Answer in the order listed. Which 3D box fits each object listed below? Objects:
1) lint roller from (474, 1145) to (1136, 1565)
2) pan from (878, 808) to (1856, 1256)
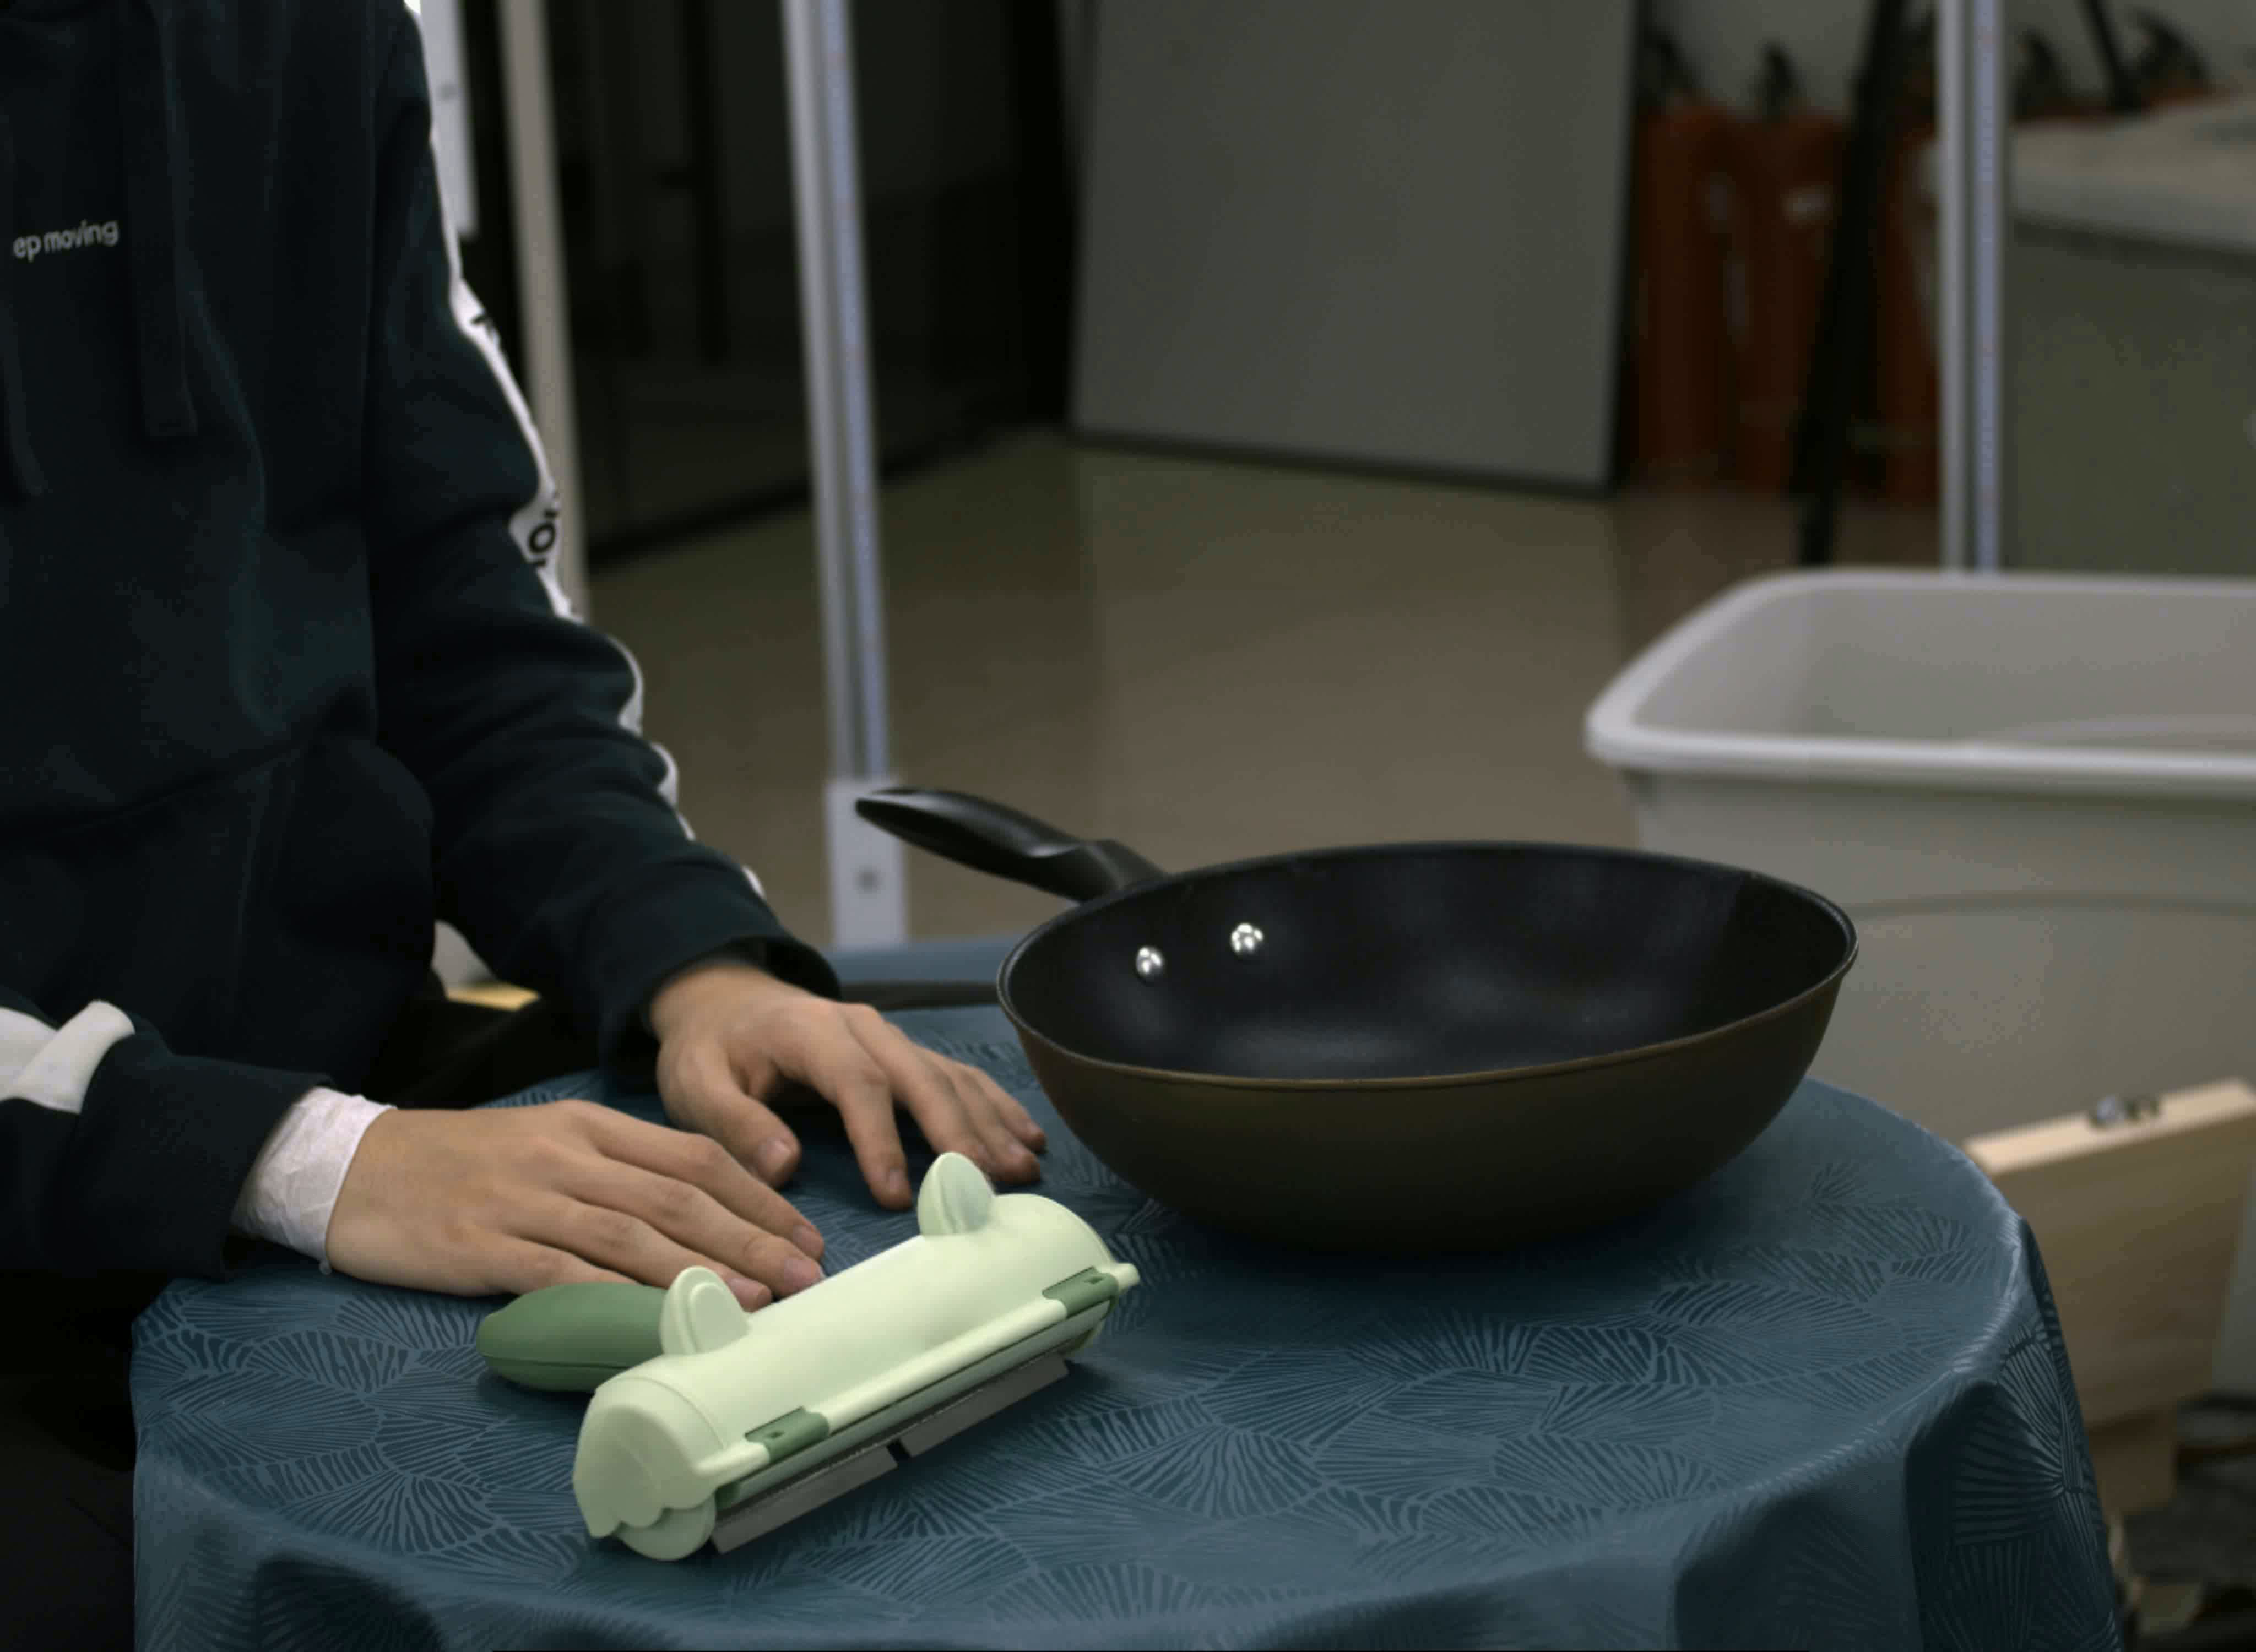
[{"bbox_3d":[-0.123,0.139,1.577,0.184,0.083,0.195,13,21,36],"label":"lint roller"},{"bbox_3d":[0.045,0.064,1.818,0.282,0.088,0.468,-14,15,-33],"label":"pan"}]
